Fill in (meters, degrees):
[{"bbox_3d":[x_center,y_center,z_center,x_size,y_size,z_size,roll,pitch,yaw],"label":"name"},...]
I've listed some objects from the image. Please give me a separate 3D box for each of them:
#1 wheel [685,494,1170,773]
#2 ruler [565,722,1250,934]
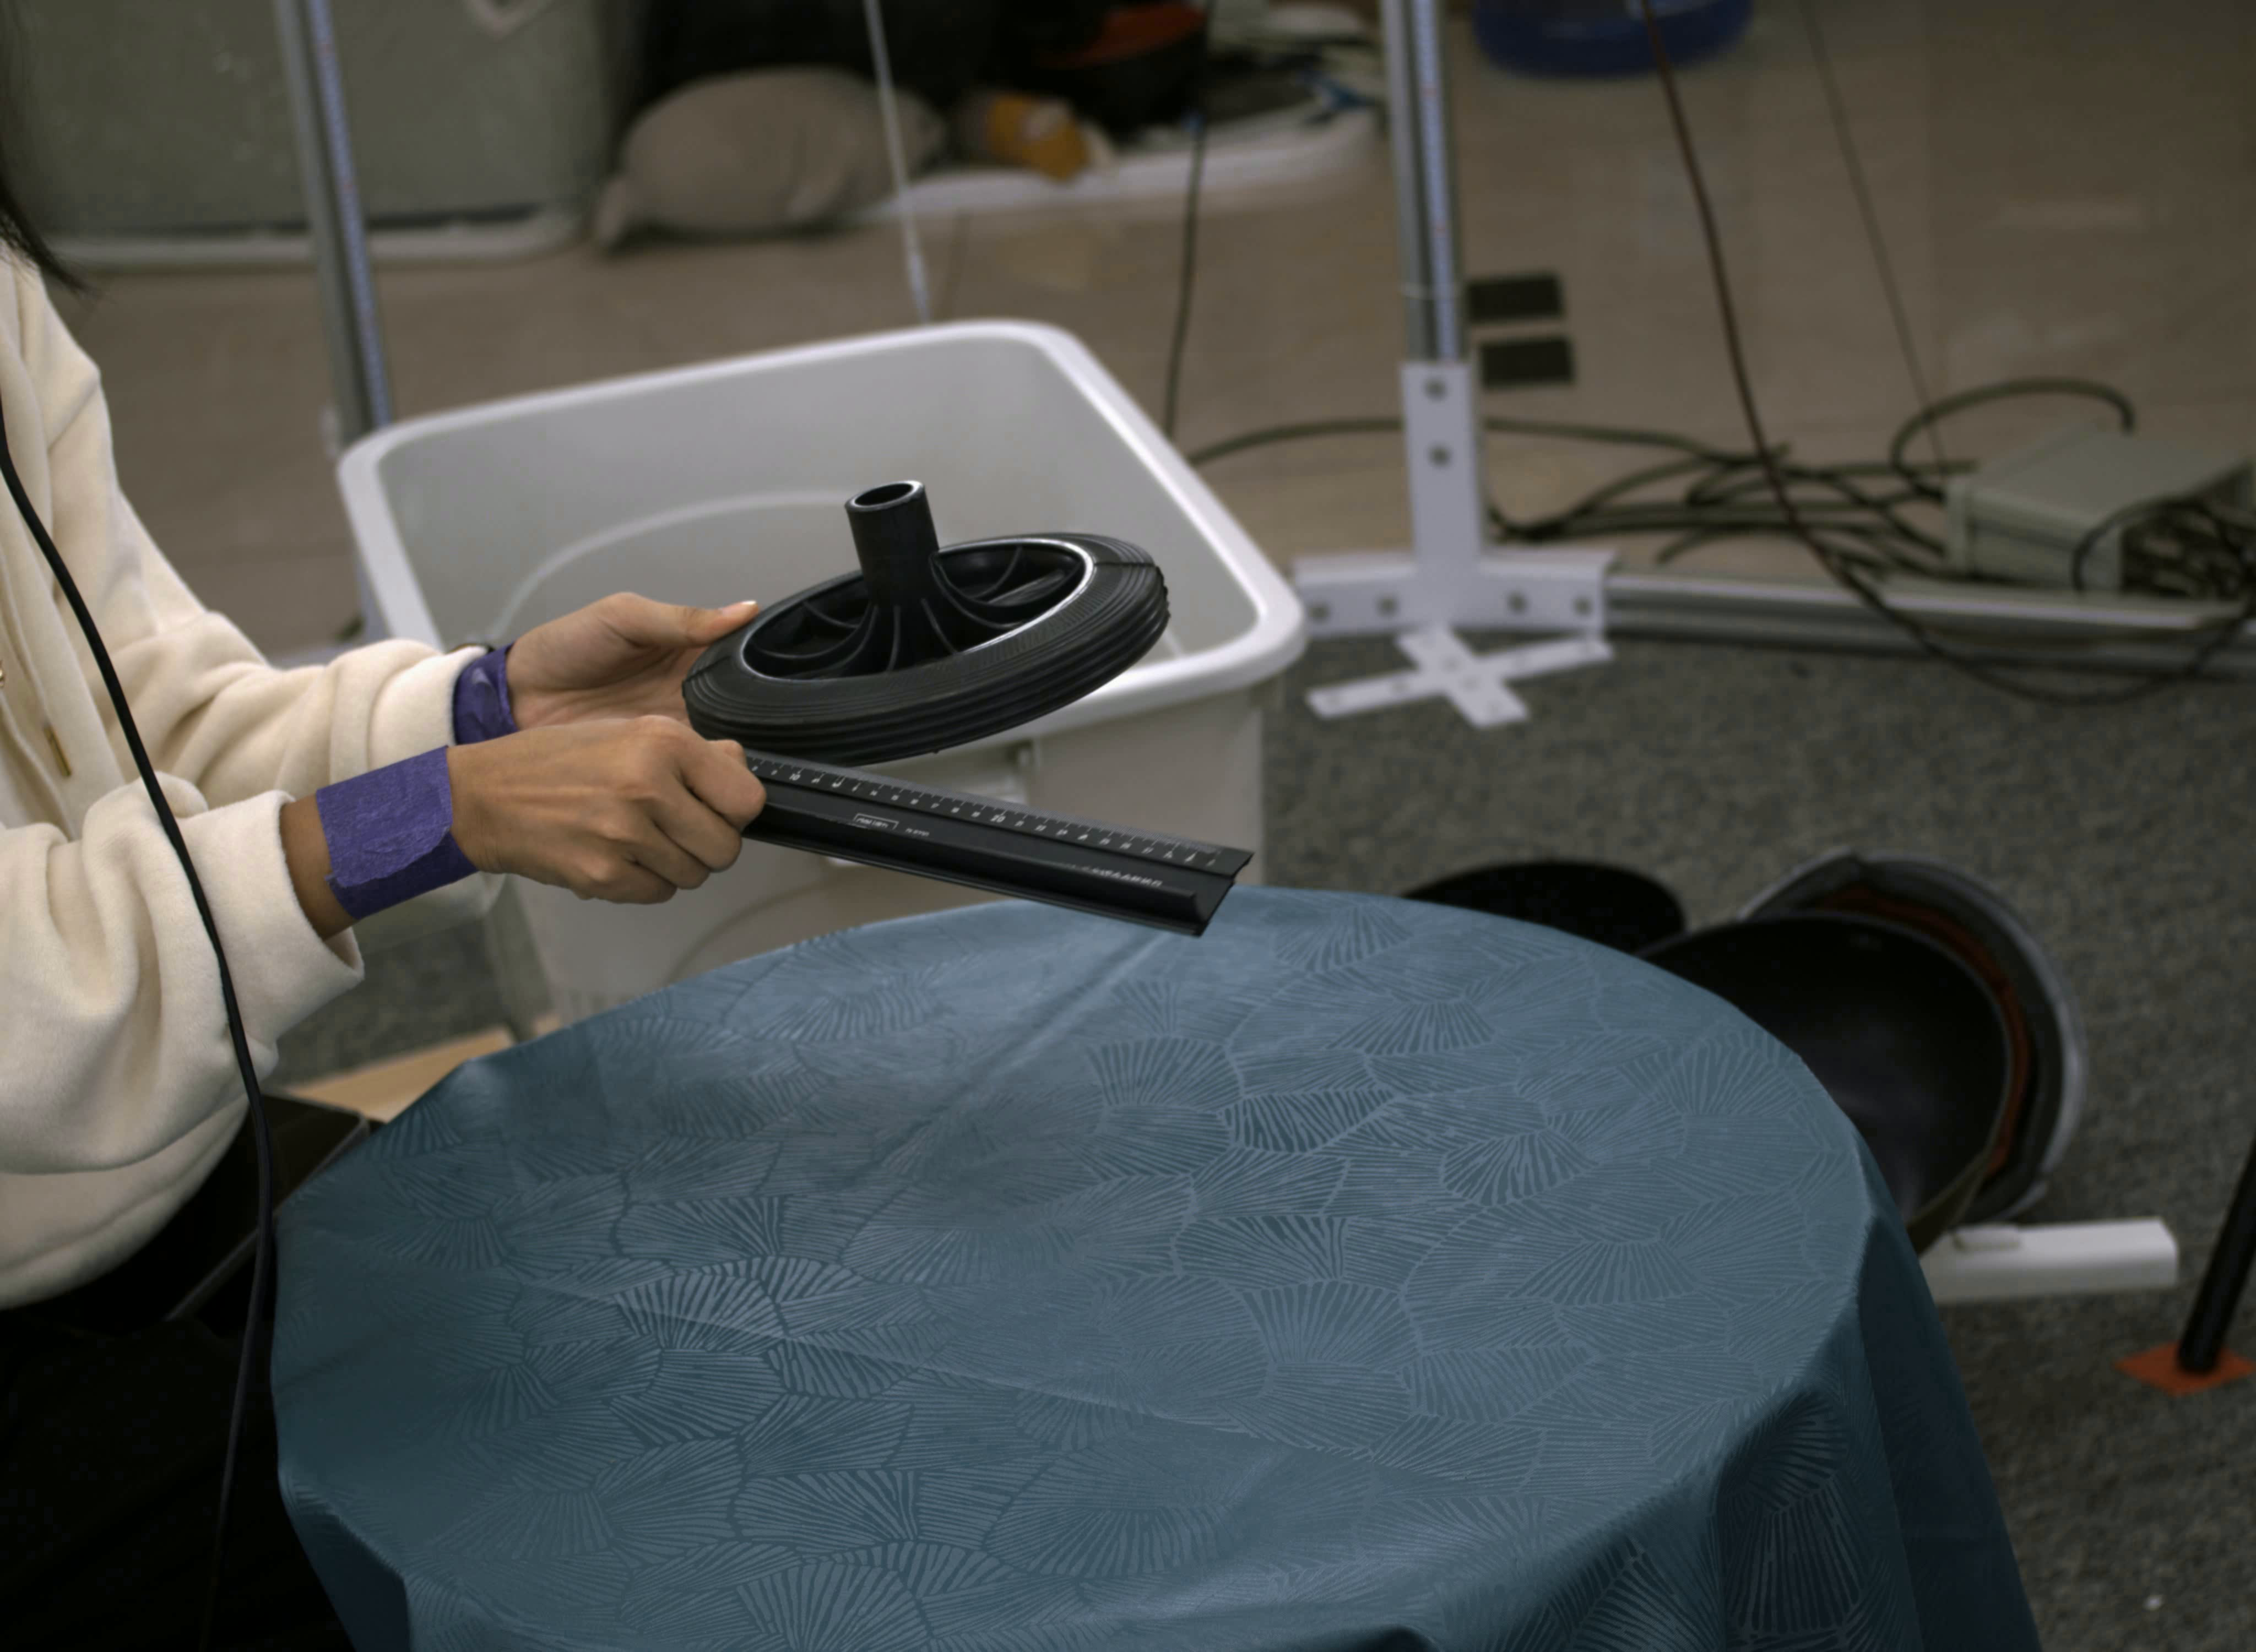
[{"bbox_3d":[-0.081,-0.084,2.144,0.187,0.080,0.188,2,25,37],"label":"wheel"},{"bbox_3d":[-0.085,-0.006,2.029,0.311,0.017,0.039,12,56,39],"label":"ruler"}]
